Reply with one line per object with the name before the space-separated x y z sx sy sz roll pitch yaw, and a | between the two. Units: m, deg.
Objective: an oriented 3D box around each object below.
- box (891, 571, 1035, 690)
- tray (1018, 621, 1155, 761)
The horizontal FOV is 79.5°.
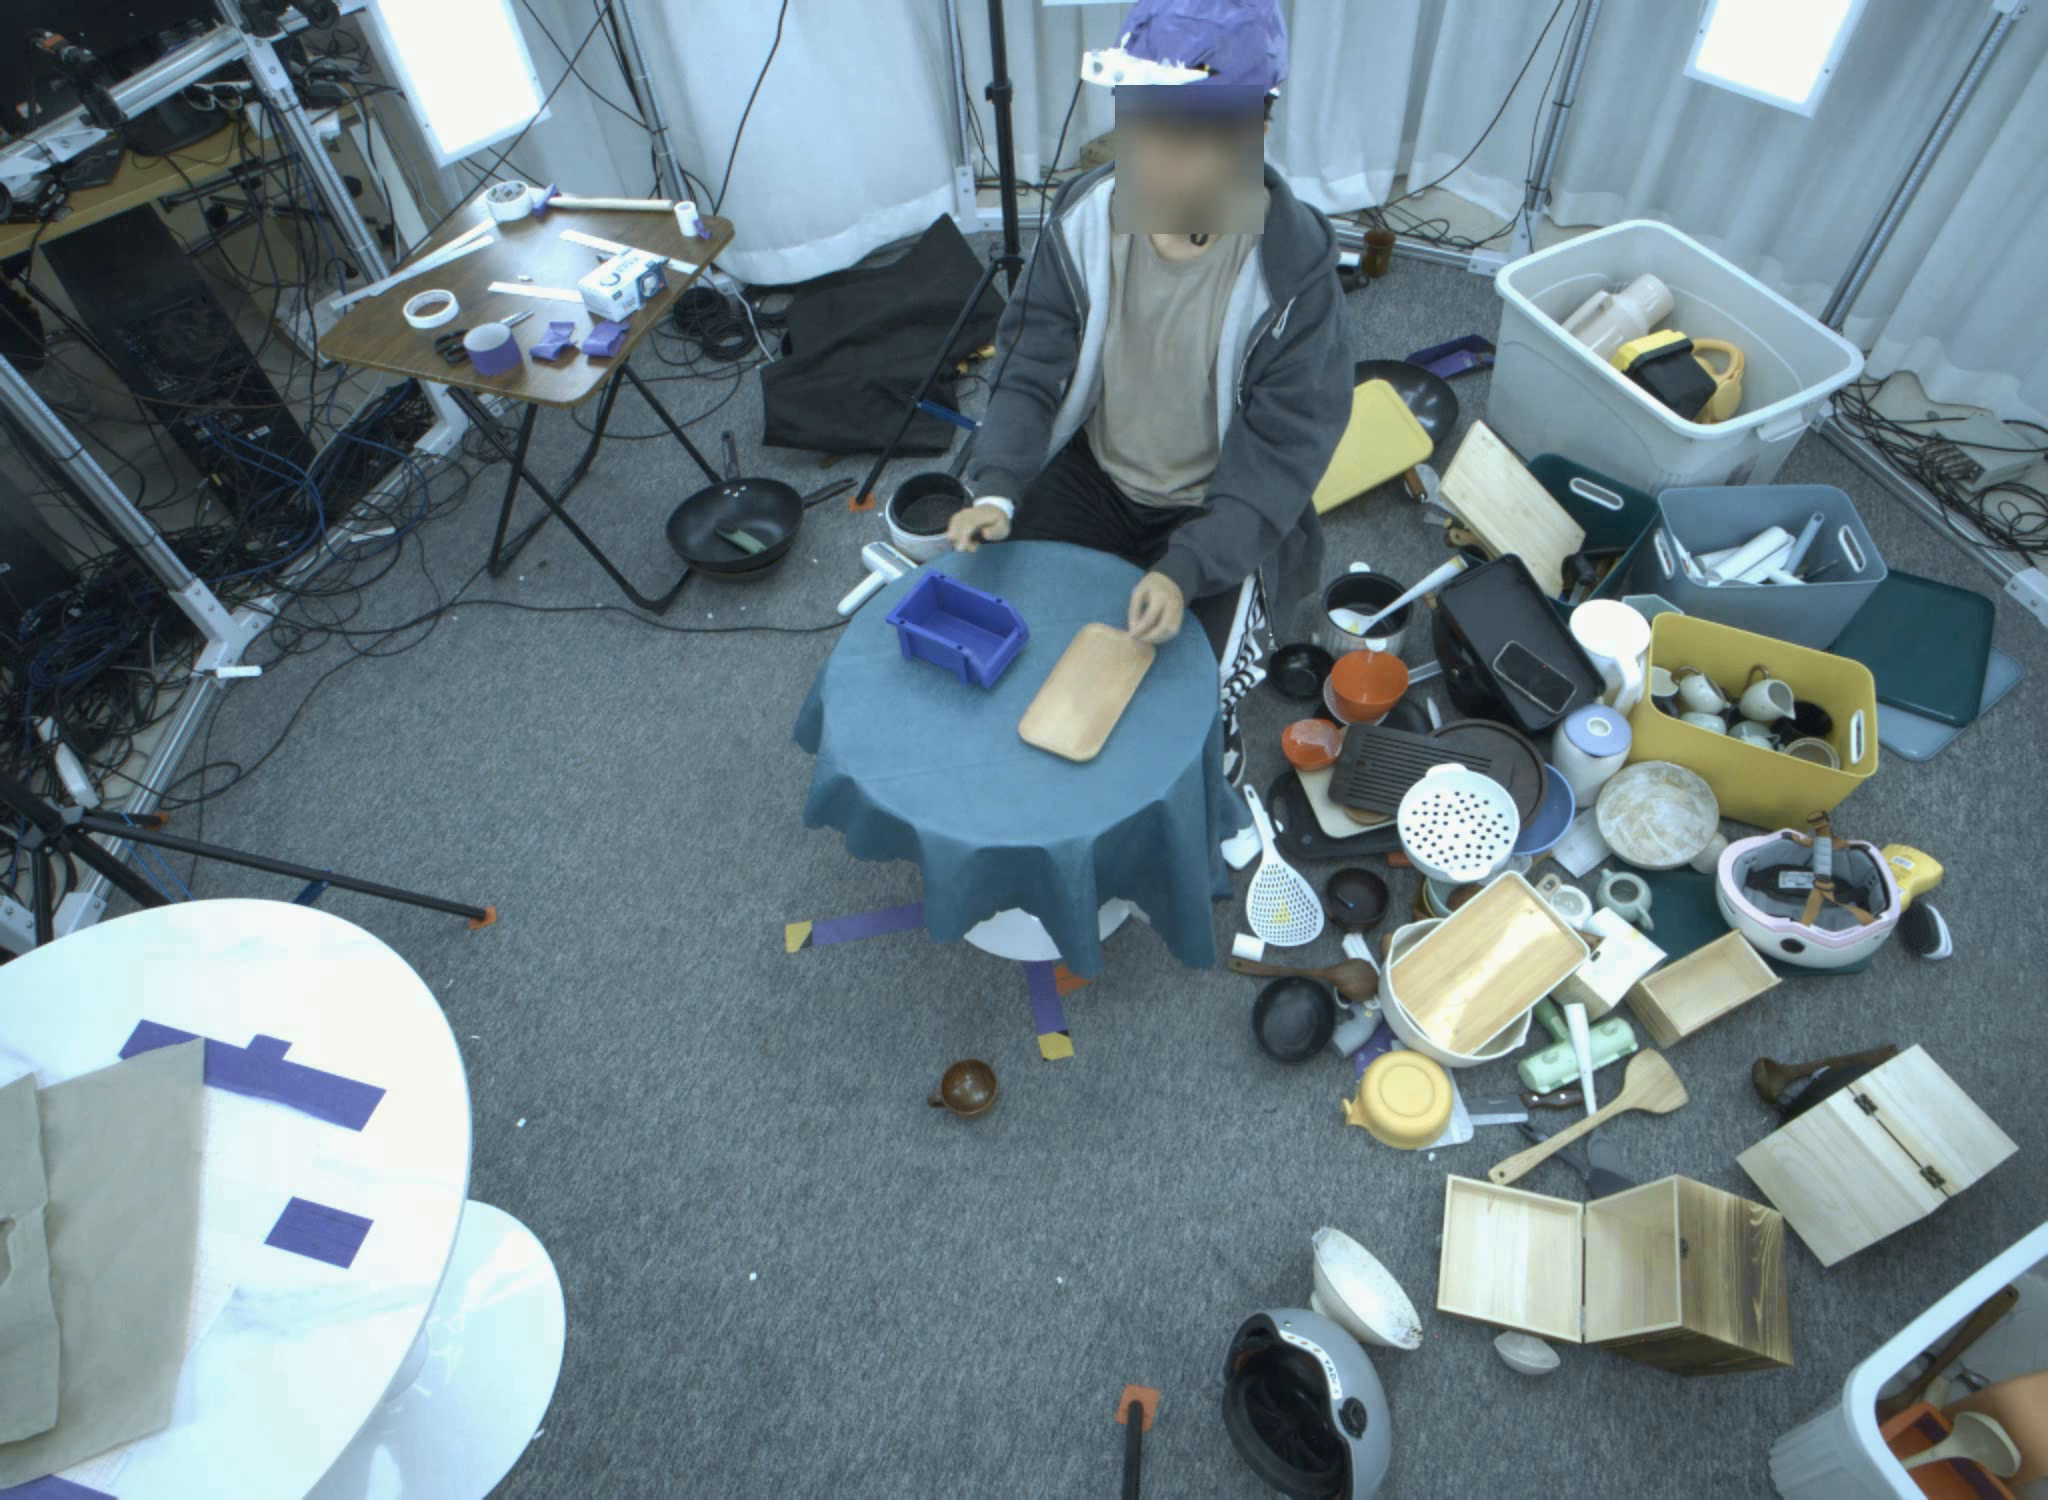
box | -0.090 -0.180 1.870 0.176 0.083 0.125 25 59 23
tray | 0.096 -0.090 1.840 0.129 0.023 0.251 24 58 15
